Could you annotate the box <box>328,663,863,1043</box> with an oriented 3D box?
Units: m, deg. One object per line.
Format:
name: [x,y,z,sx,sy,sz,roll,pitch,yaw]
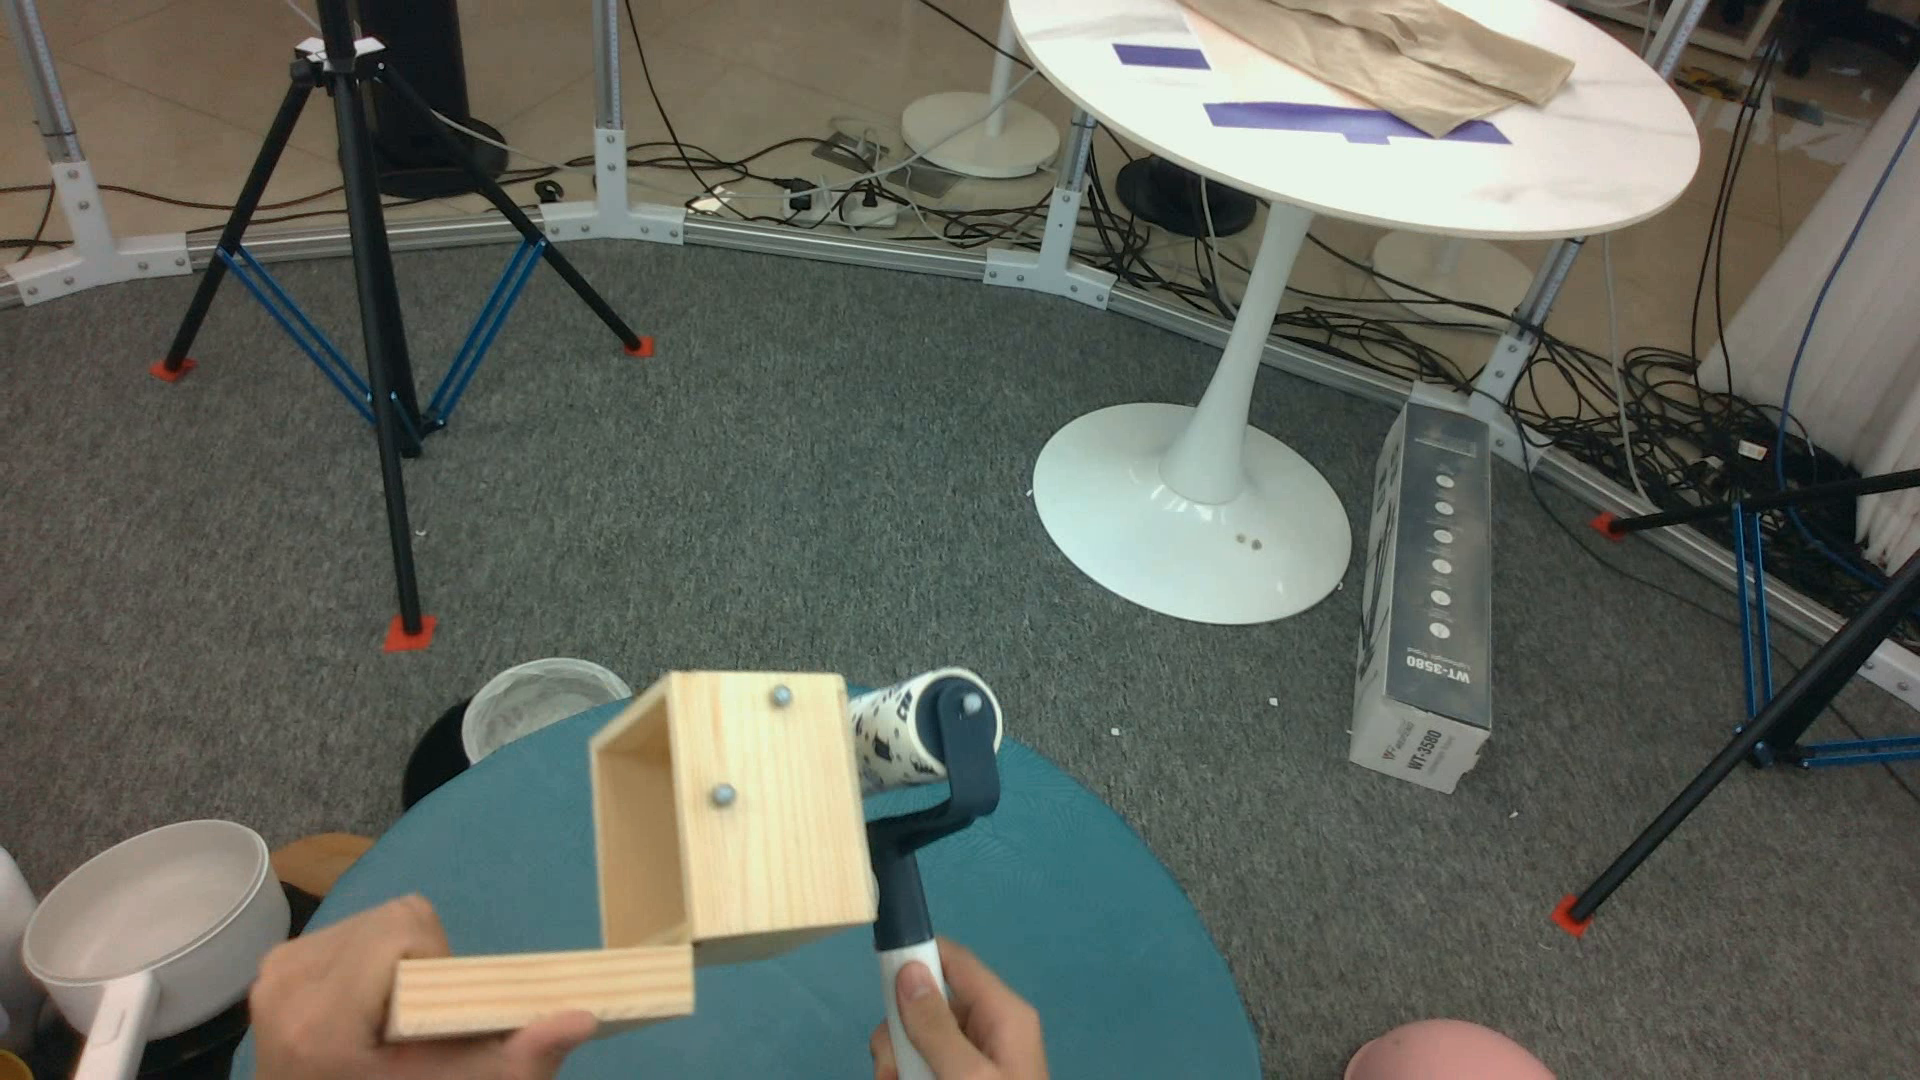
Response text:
box: [-0.146,0.121,0.551,0.185,0.102,0.134,5,65,-33]

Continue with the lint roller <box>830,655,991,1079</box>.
lint roller: [-0.027,0.187,0.631,0.050,0.175,0.247,-8,81,-35]
